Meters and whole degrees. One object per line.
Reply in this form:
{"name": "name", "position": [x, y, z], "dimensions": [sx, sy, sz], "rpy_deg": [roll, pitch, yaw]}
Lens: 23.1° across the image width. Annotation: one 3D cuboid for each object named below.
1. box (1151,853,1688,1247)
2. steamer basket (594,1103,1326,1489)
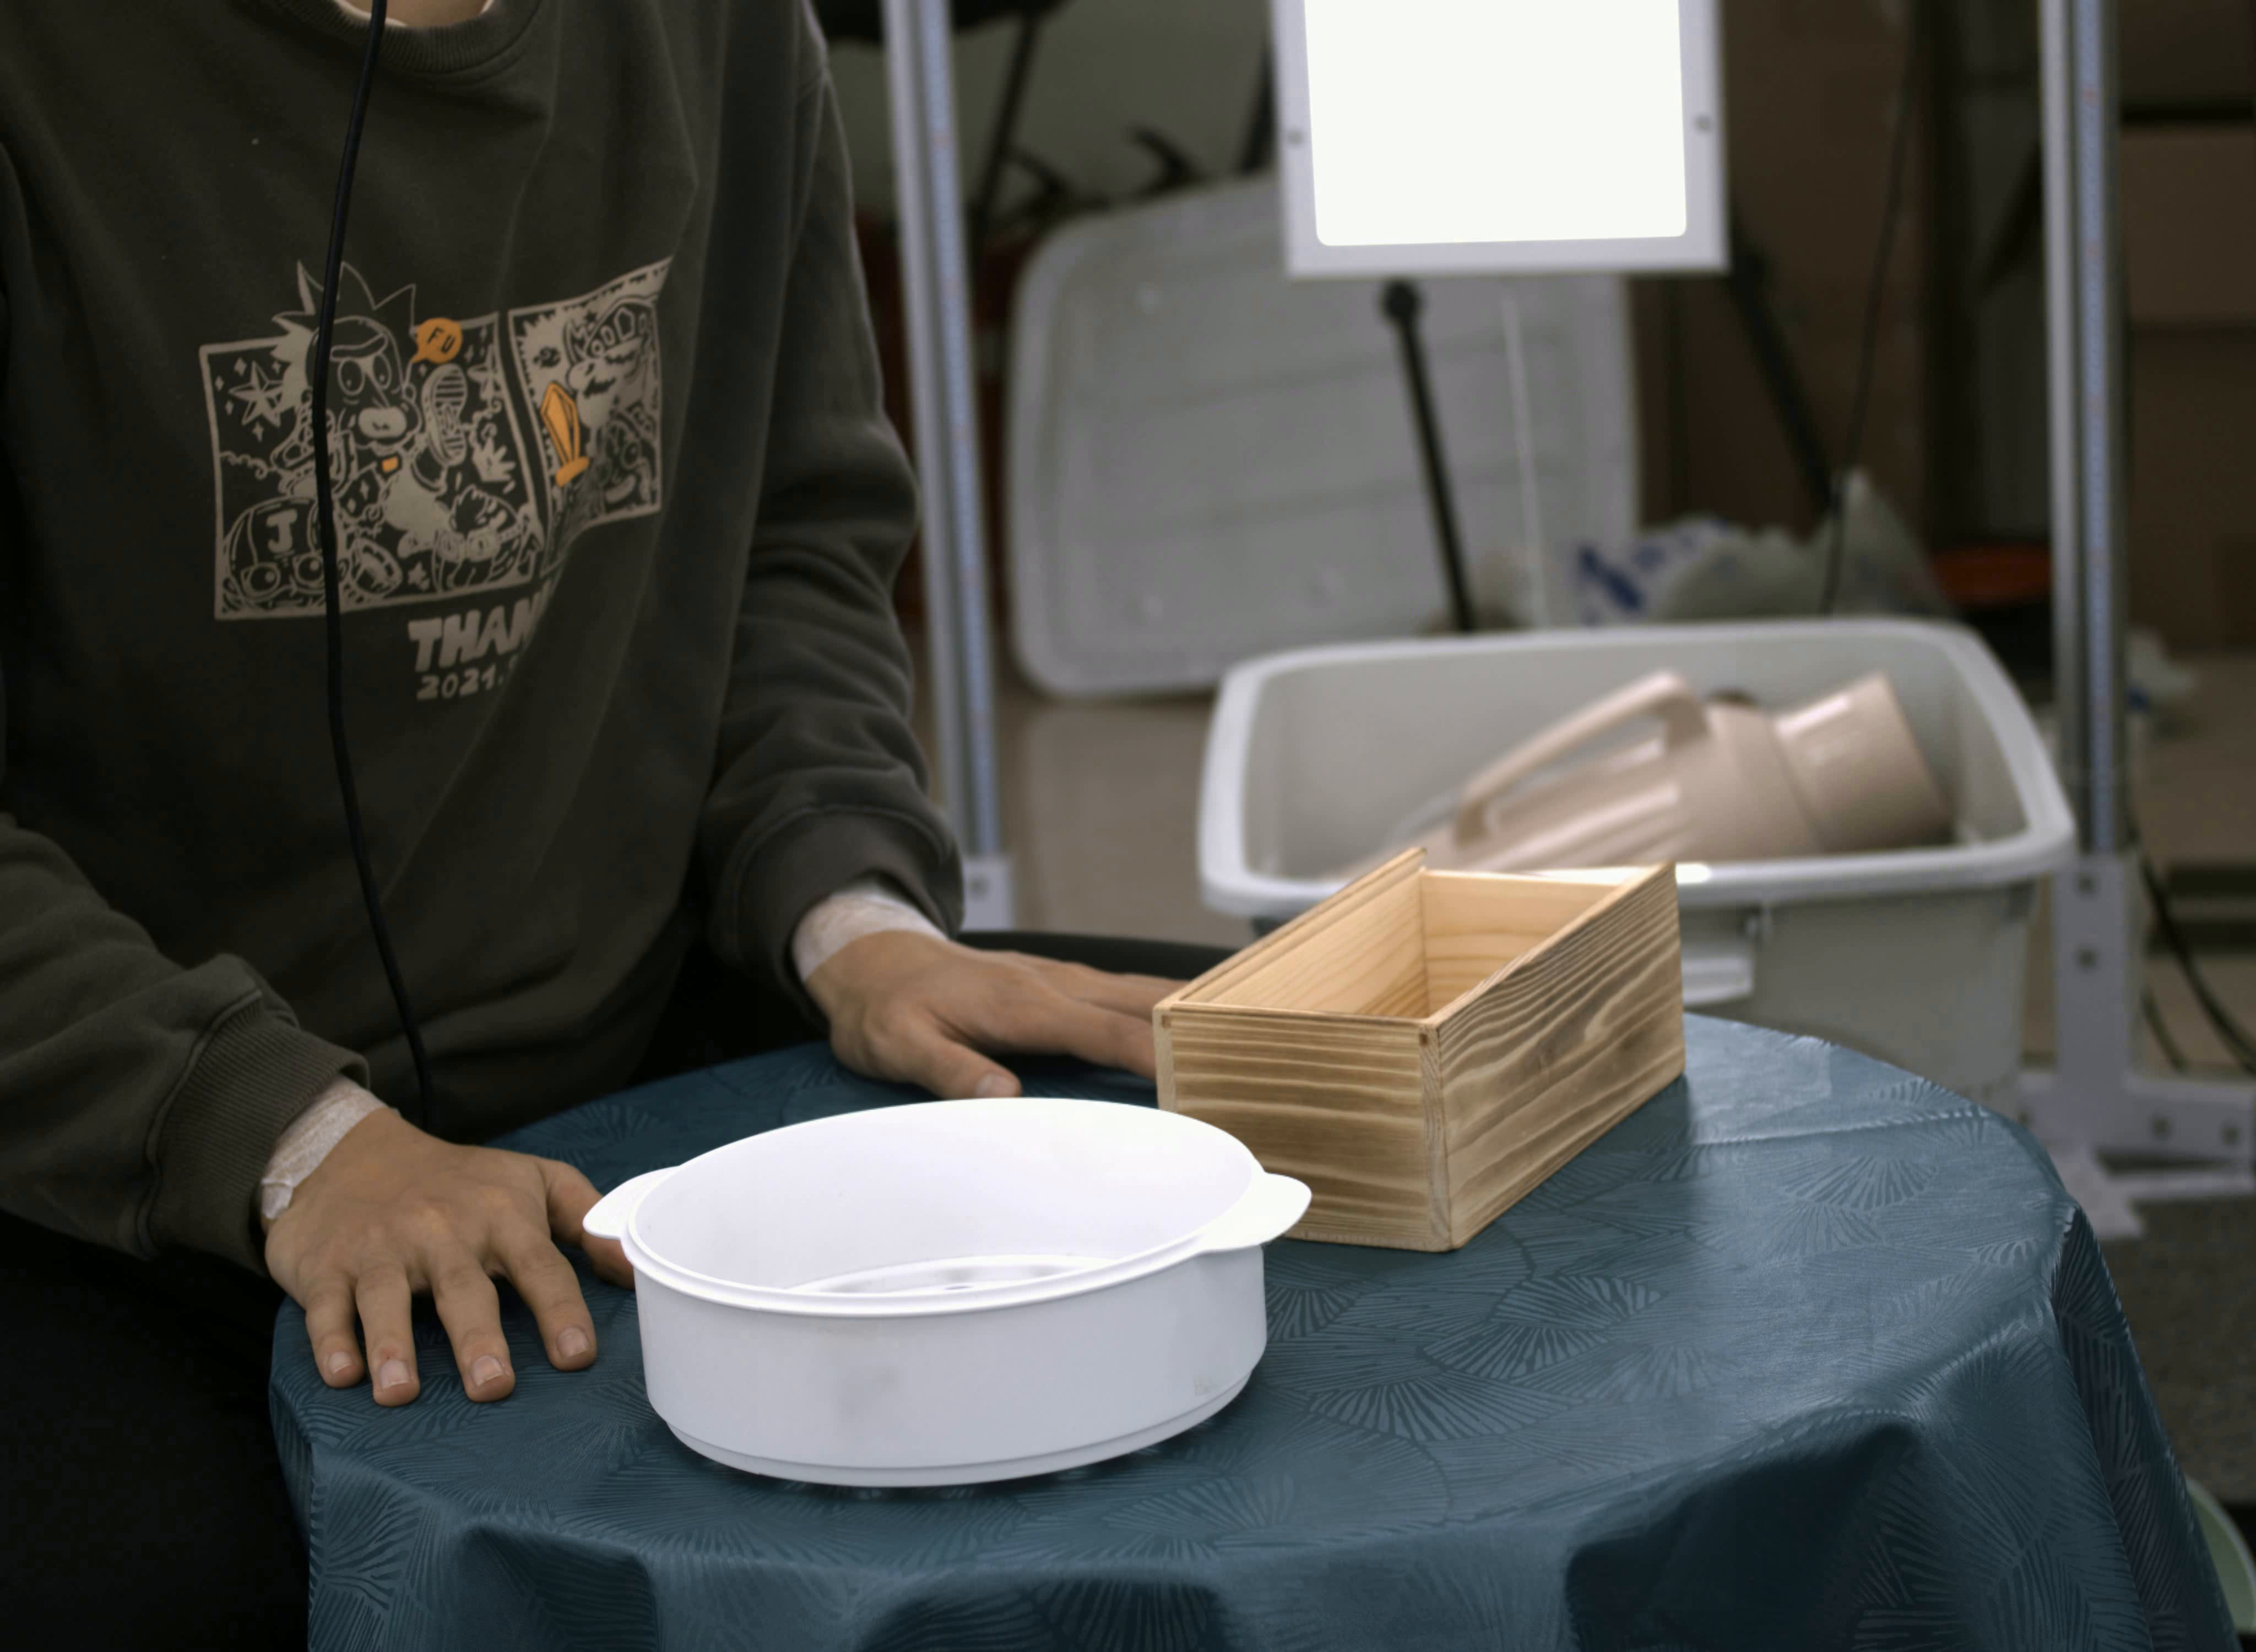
{"name": "box", "position": [0.105, 0.074, 1.903], "dimensions": [0.109, 0.080, 0.207], "rpy_deg": [2, 15, 28]}
{"name": "steamer basket", "position": [-0.050, 0.144, 1.702], "dimensions": [0.233, 0.069, 0.198], "rpy_deg": [-2, 13, 19]}
